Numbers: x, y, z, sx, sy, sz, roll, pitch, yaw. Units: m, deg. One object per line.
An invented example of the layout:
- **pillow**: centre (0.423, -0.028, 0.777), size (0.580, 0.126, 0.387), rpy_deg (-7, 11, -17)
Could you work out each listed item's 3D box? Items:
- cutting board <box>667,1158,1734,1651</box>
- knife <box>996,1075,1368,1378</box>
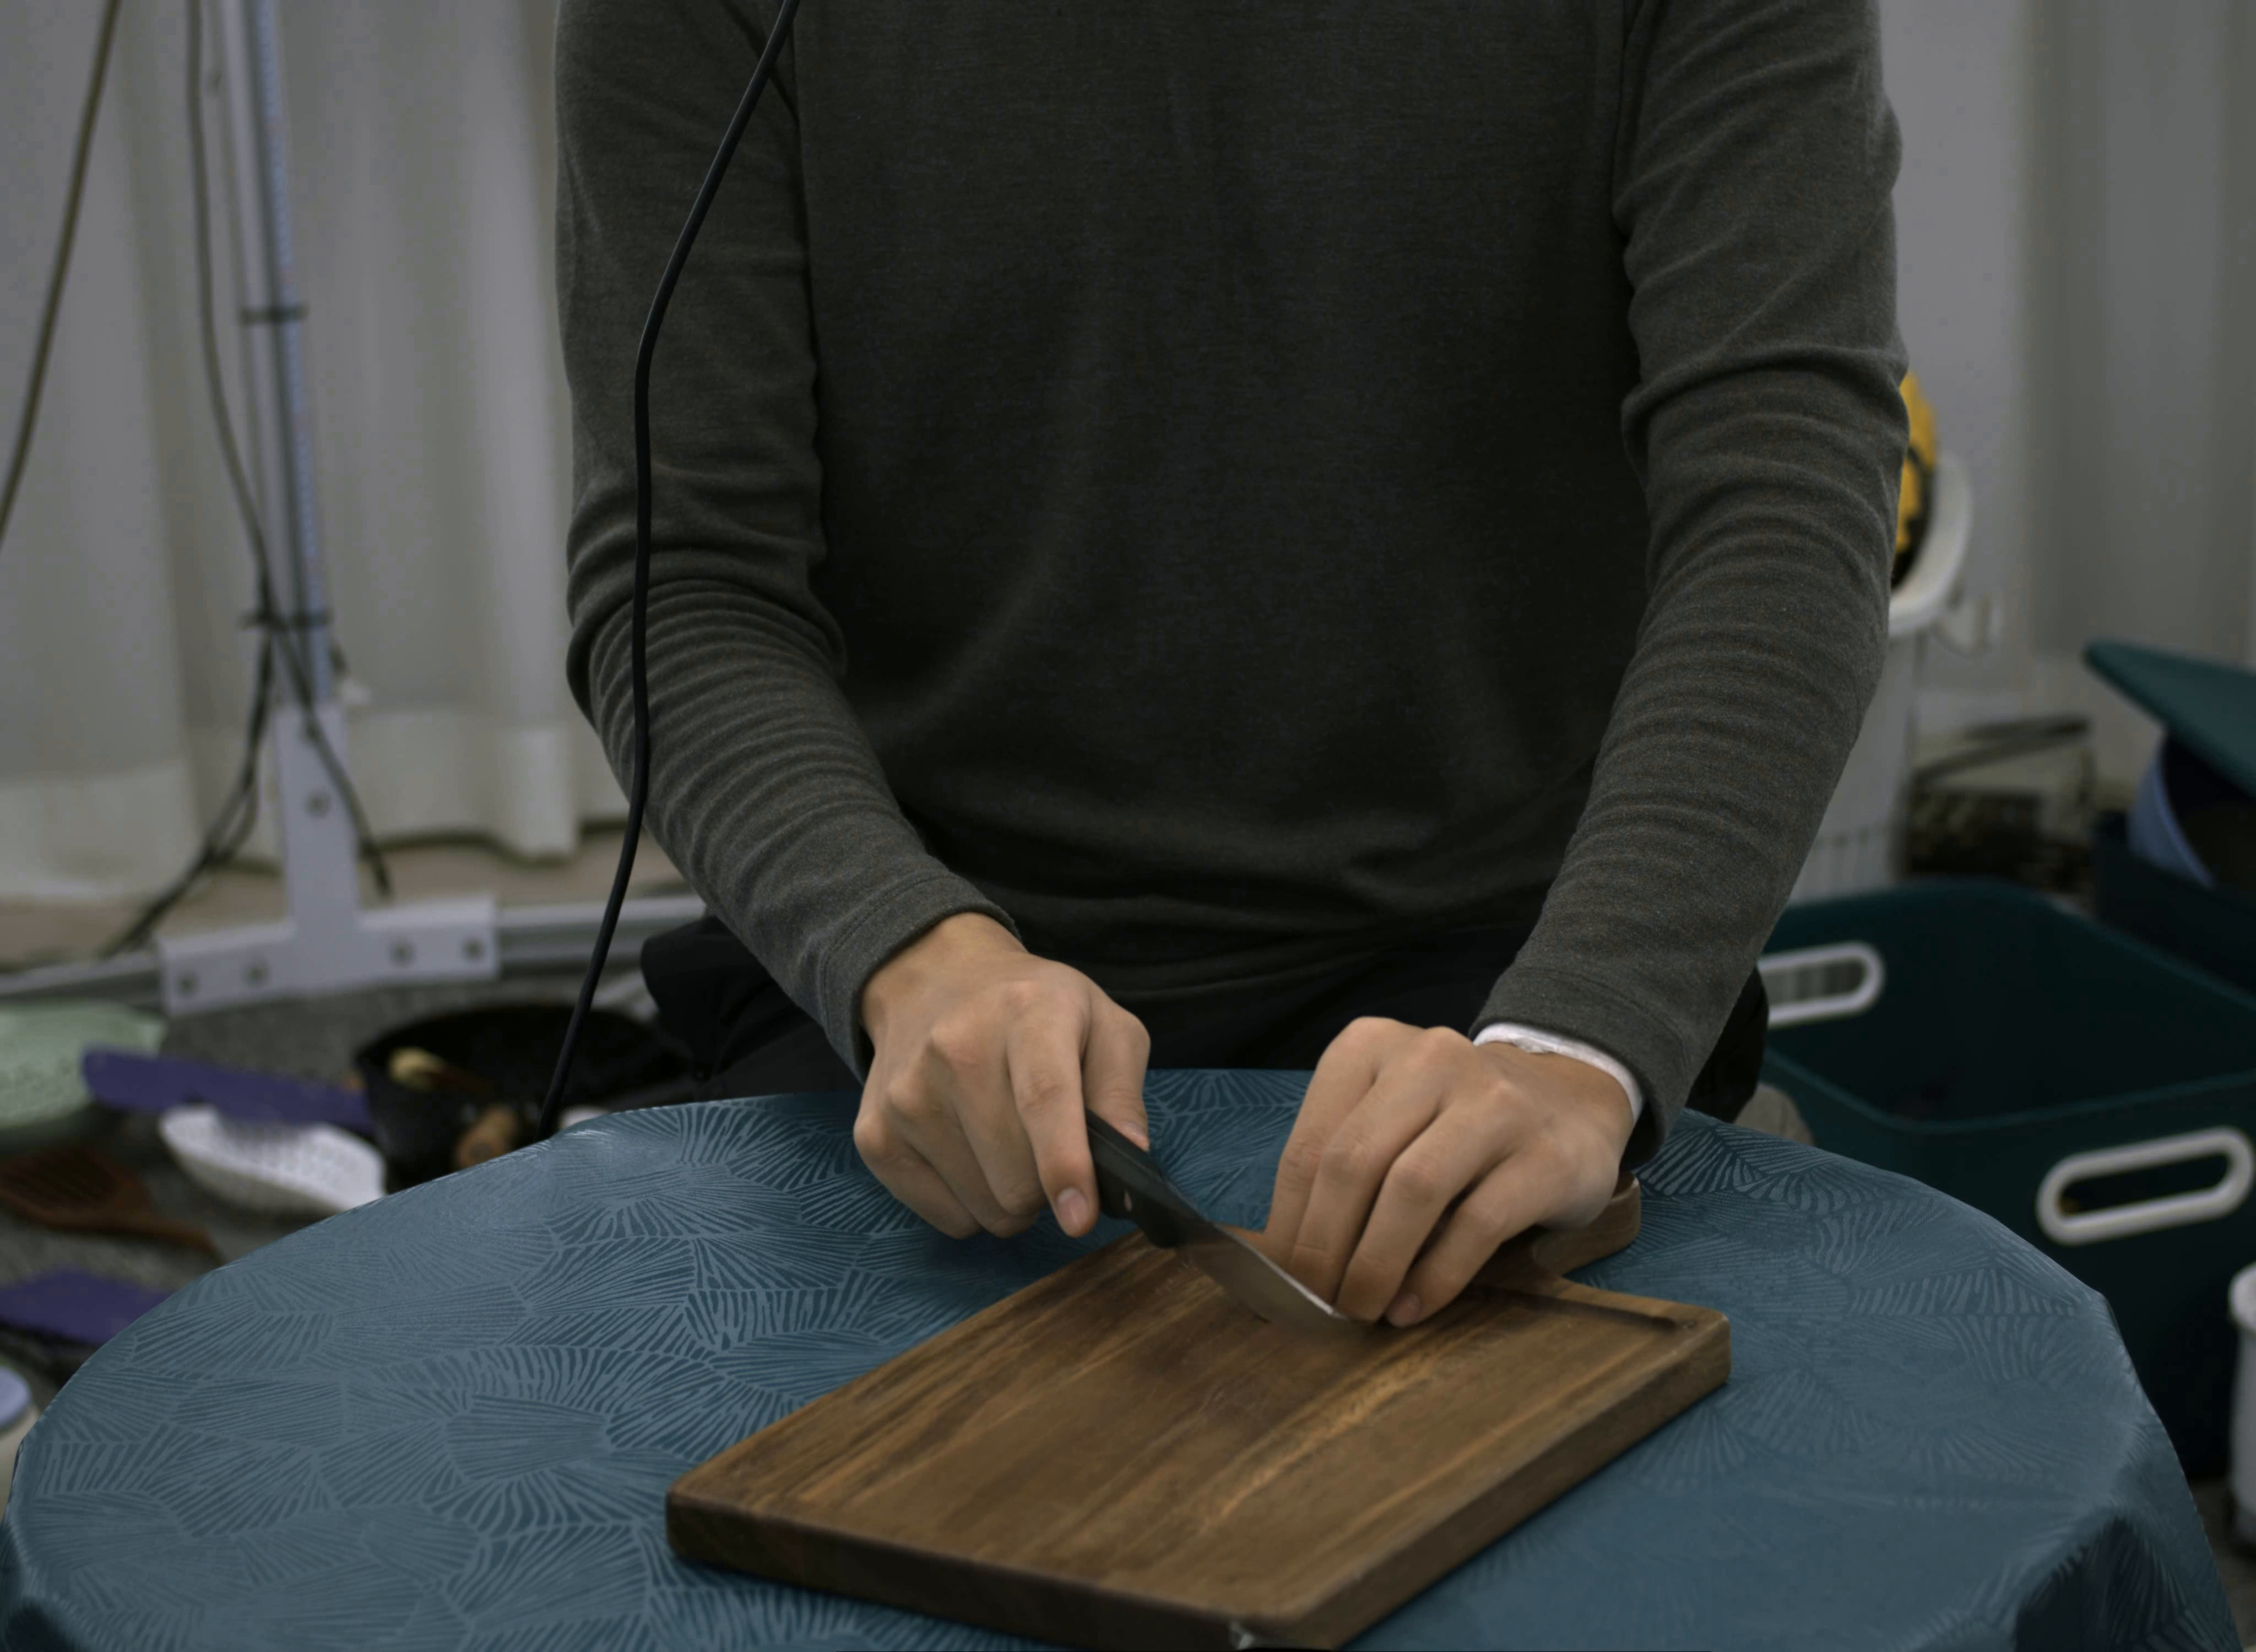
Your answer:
- **cutting board**: centre (0.051, 0.152, 1.526), size (0.202, 0.023, 0.352), rpy_deg (7, 17, 32)
- **knife**: centre (0.014, 0.112, 1.548), size (0.016, 0.024, 0.240), rpy_deg (-18, 22, -20)
